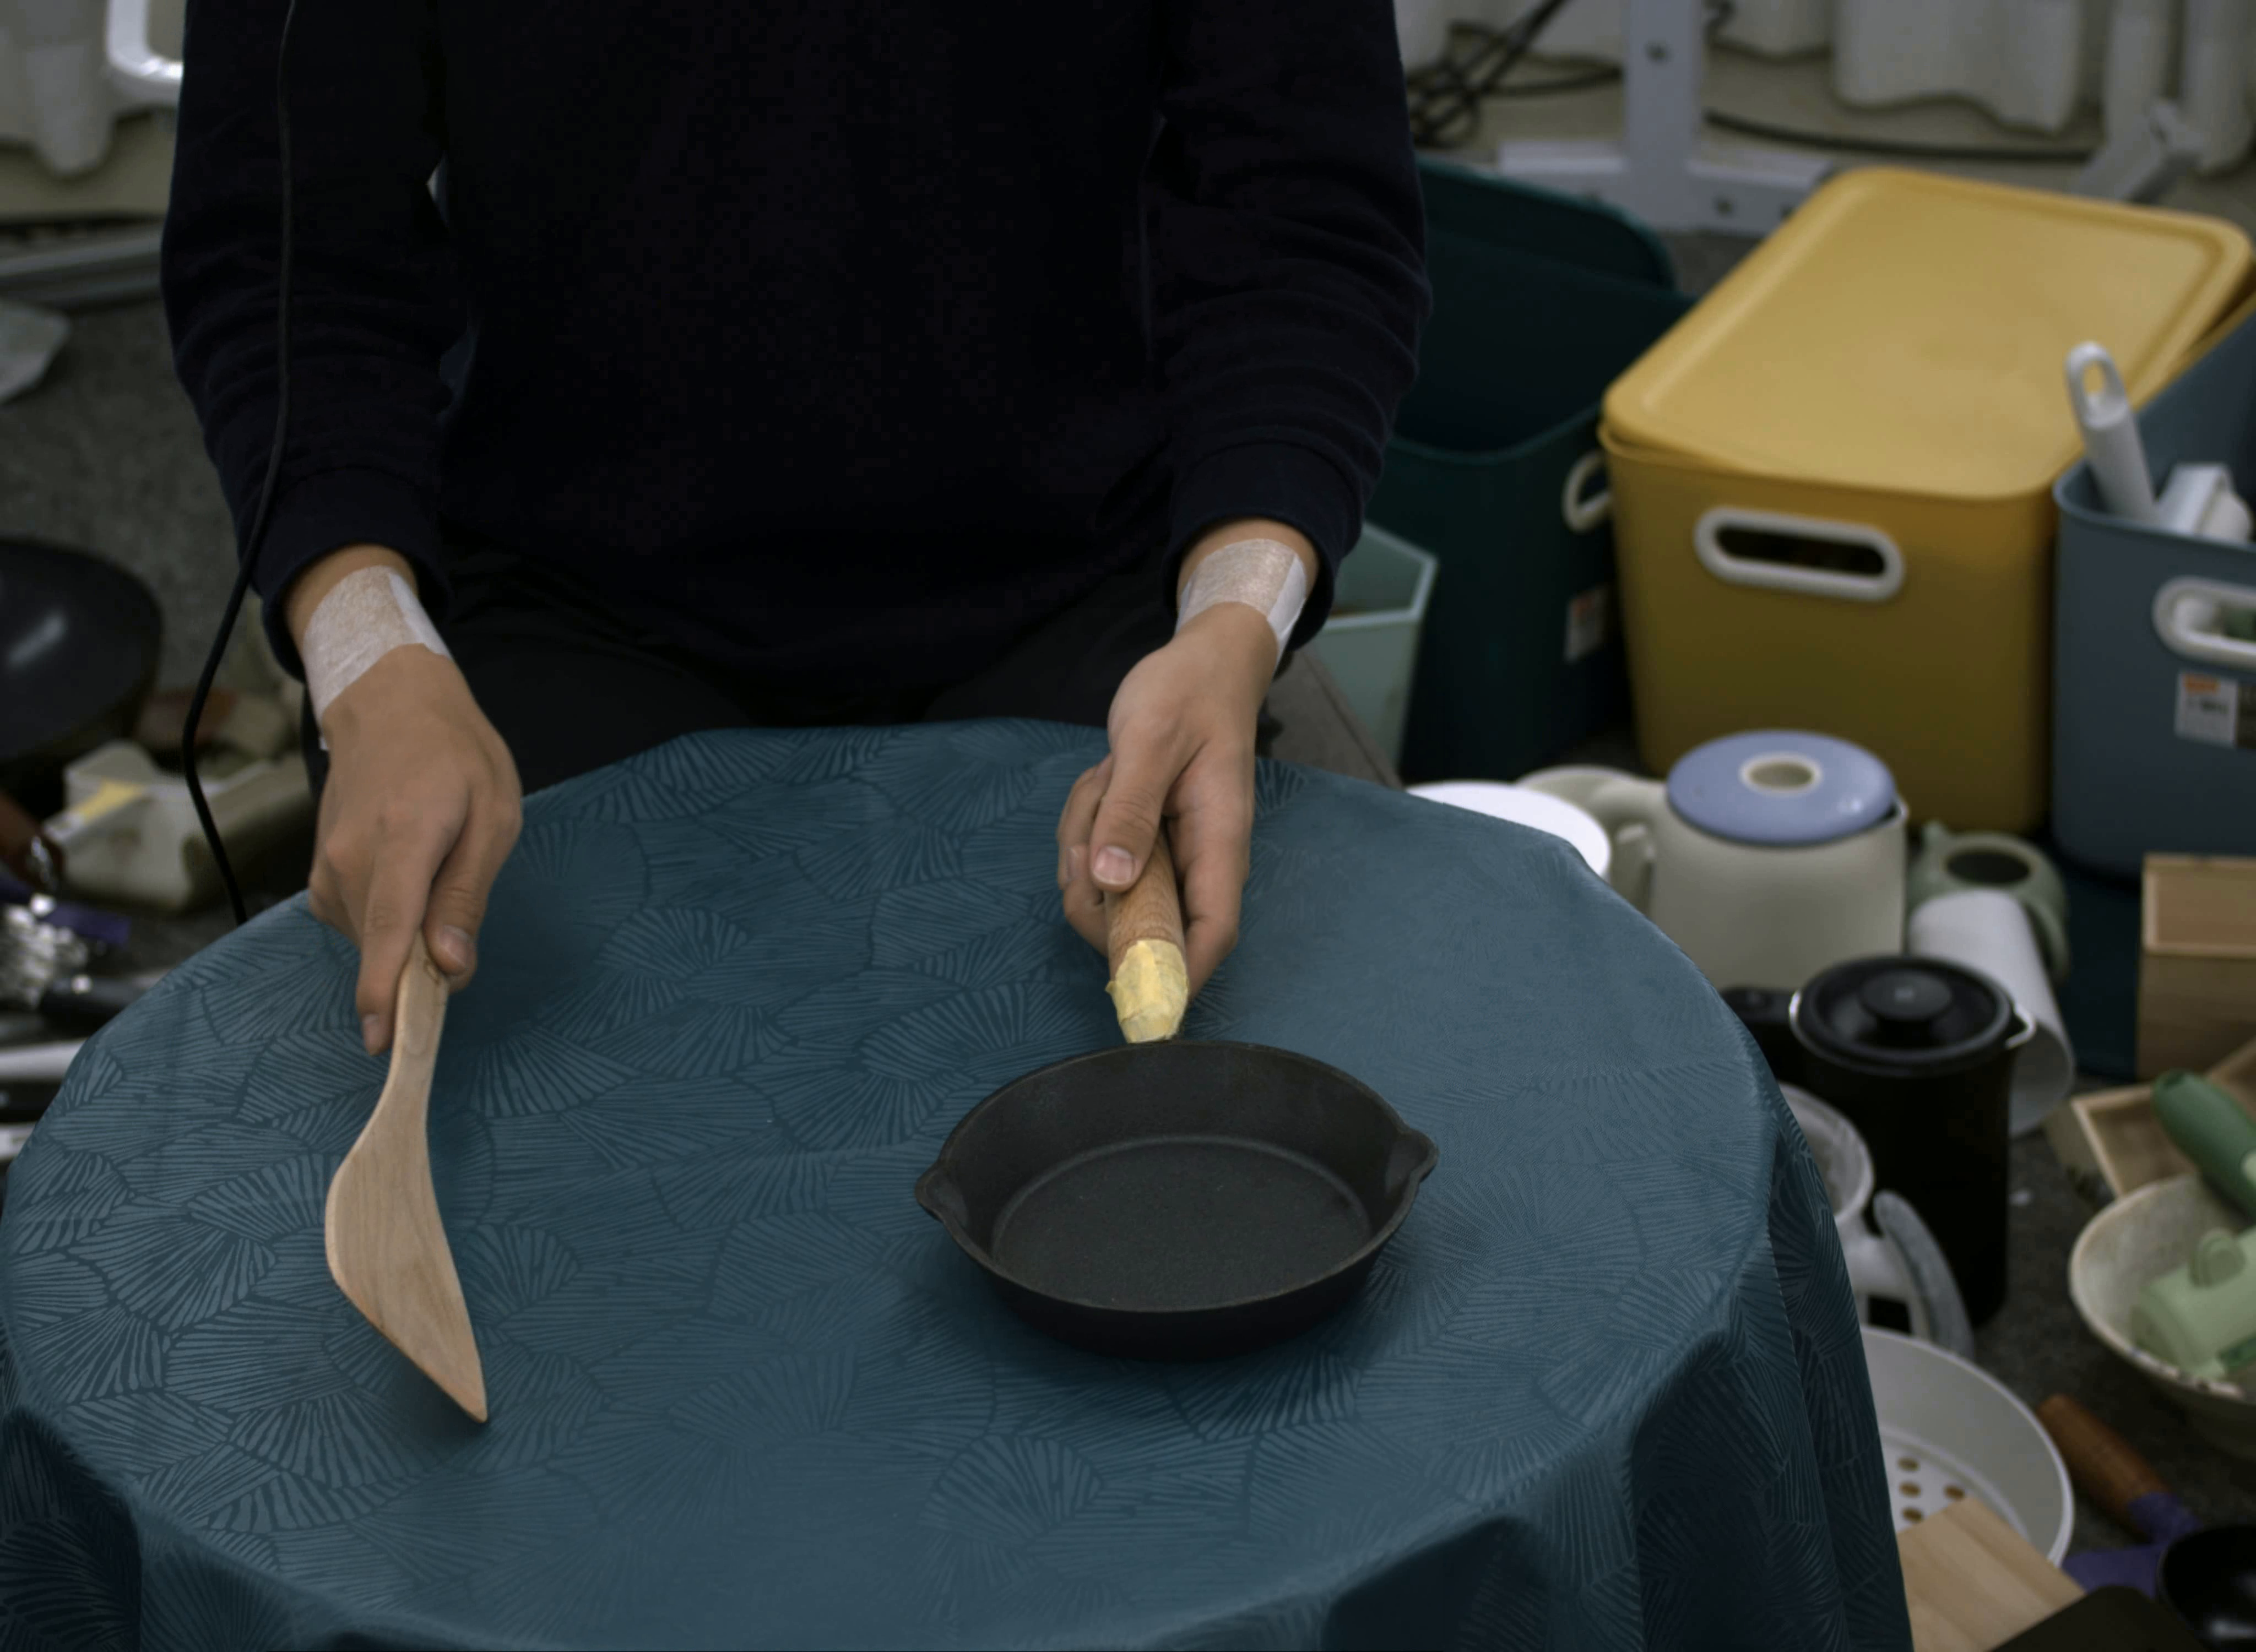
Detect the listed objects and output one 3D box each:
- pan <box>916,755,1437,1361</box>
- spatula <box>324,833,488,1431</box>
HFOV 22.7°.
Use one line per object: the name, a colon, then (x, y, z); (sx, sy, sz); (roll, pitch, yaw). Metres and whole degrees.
pan: (0.013, 0.075, 1.887); (0.168, 0.049, 0.329); (-3, 31, -1)
spatula: (-0.236, 0.090, 1.865); (0.016, 0.079, 0.332); (-31, 28, 13)
